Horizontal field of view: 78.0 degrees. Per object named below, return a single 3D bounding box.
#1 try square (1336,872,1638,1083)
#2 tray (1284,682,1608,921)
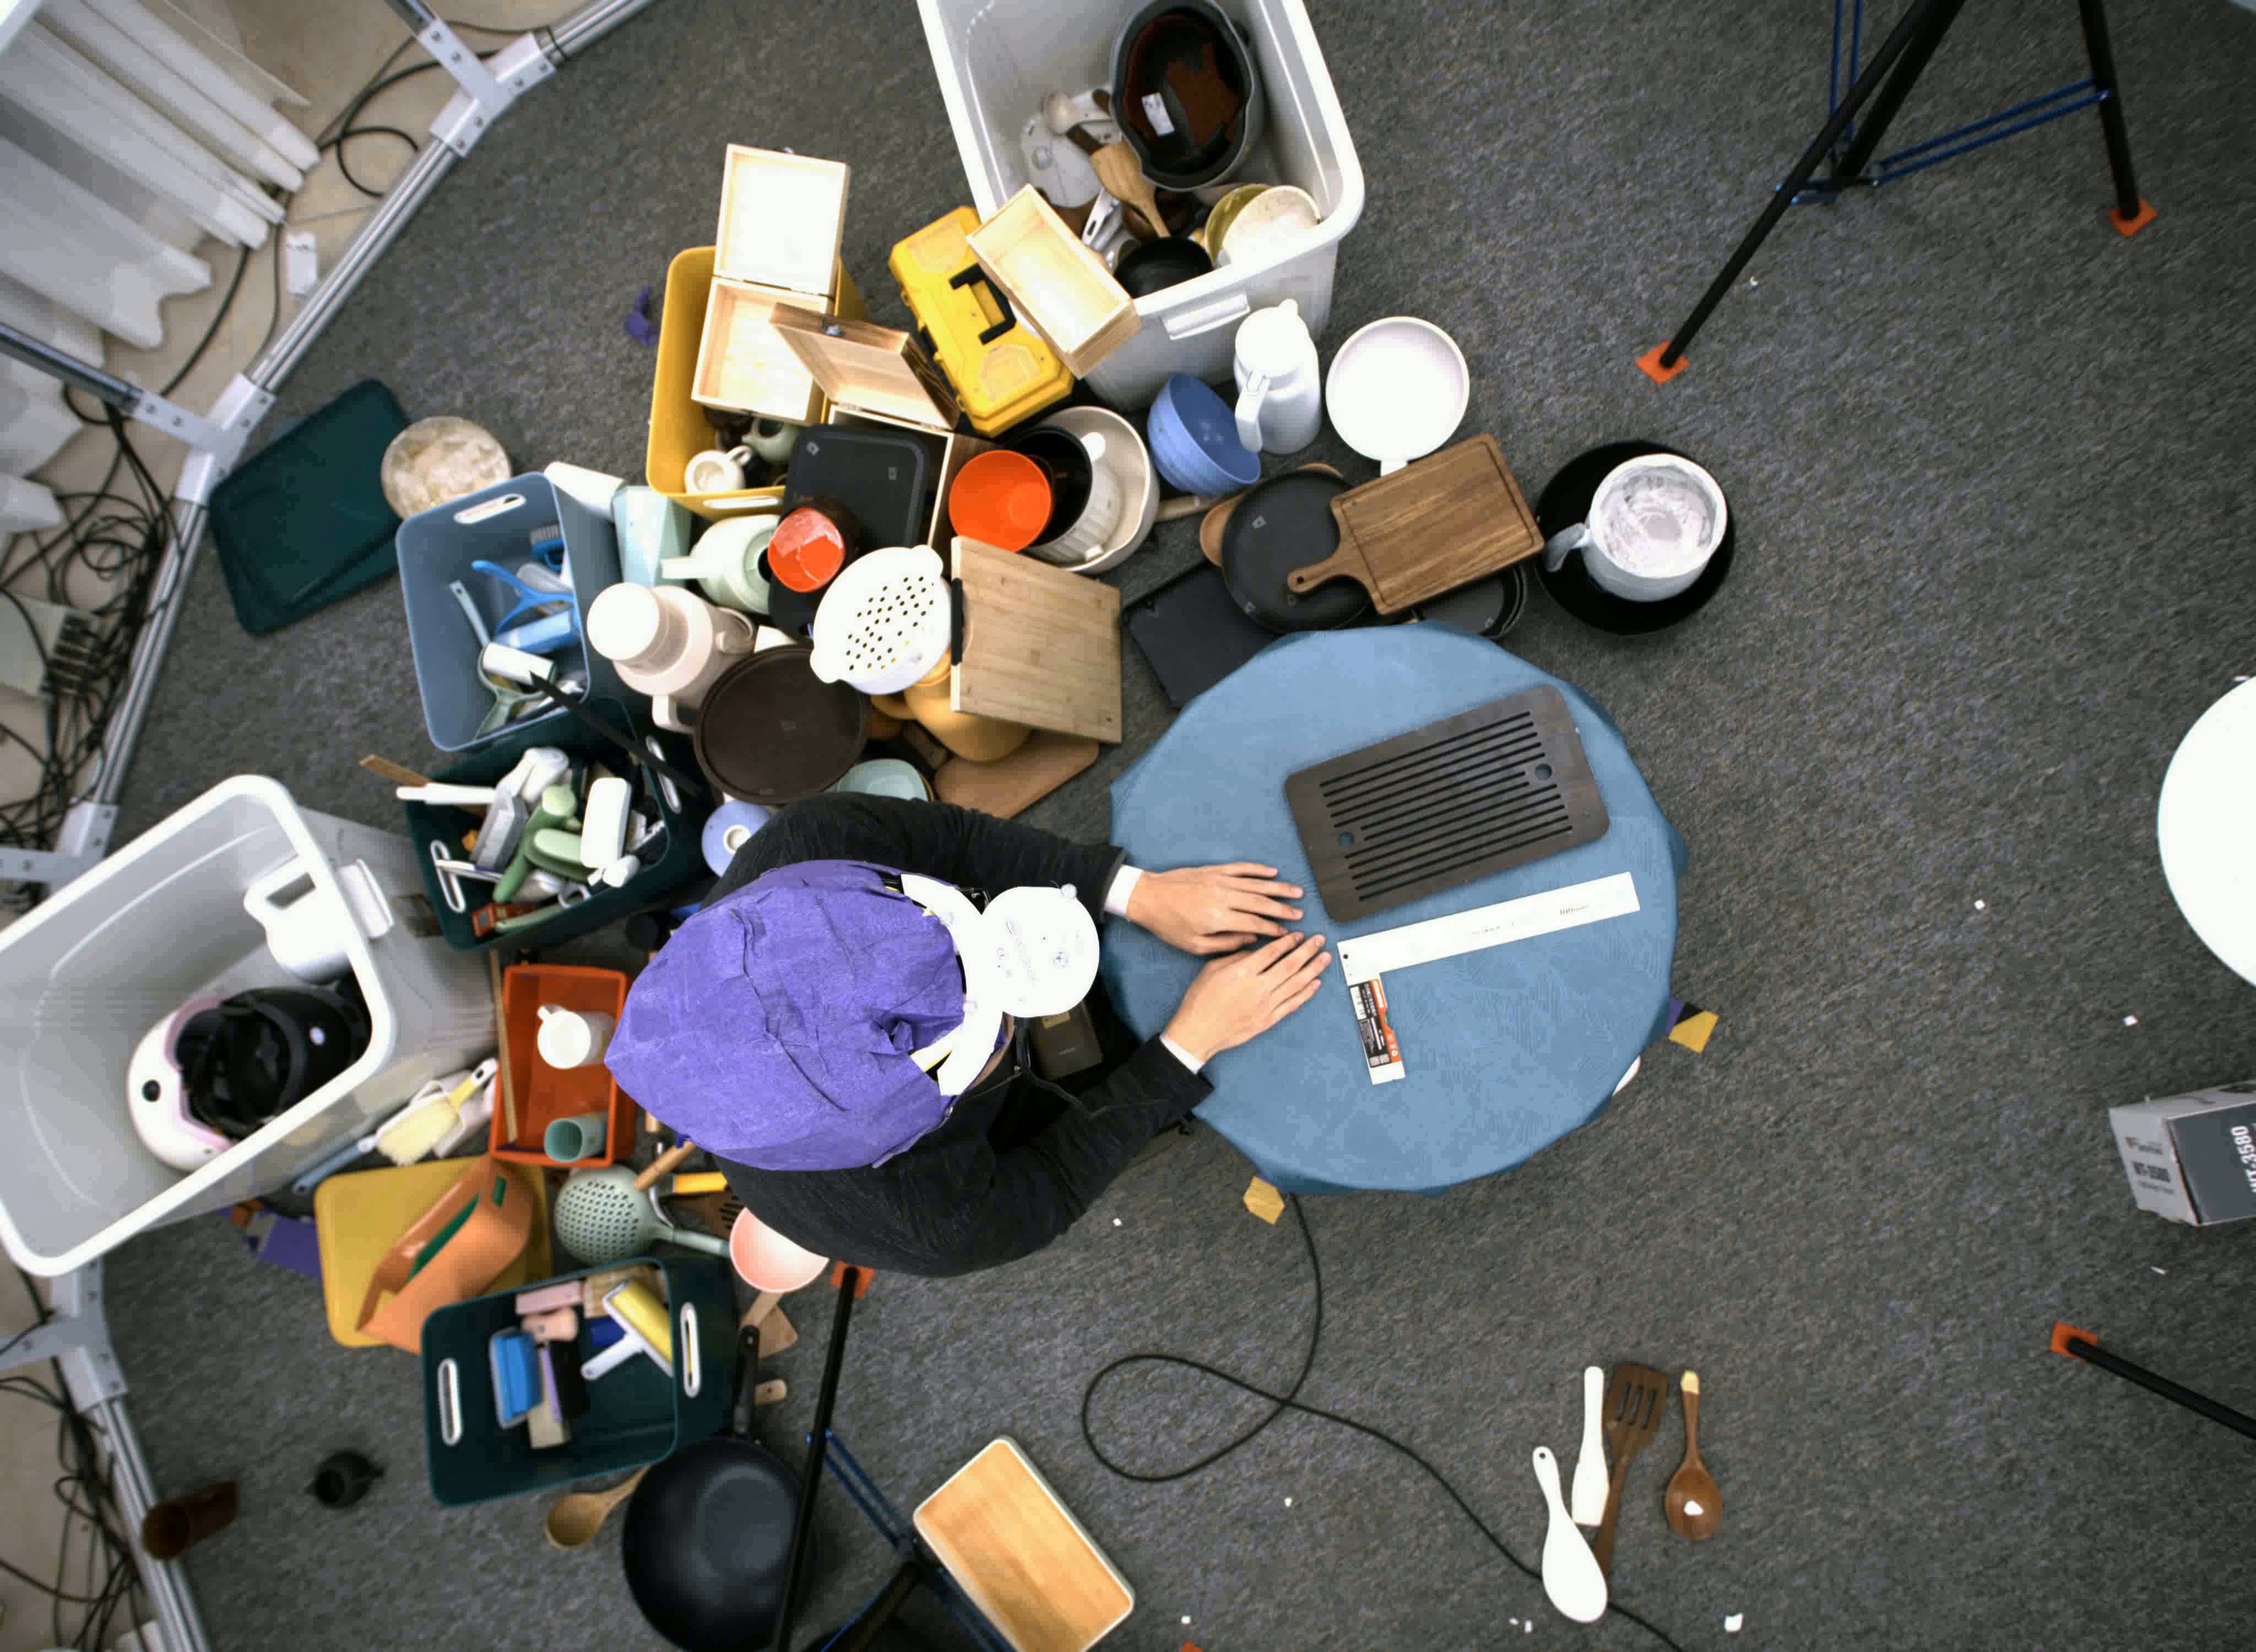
[{"bbox_3d":[0.383,0.156,1.430,0.314,0.016,0.151,-14,84,9],"label":"try square"},{"bbox_3d":[0.331,-0.026,1.445,0.308,0.018,0.169,-19,84,9],"label":"tray"}]
